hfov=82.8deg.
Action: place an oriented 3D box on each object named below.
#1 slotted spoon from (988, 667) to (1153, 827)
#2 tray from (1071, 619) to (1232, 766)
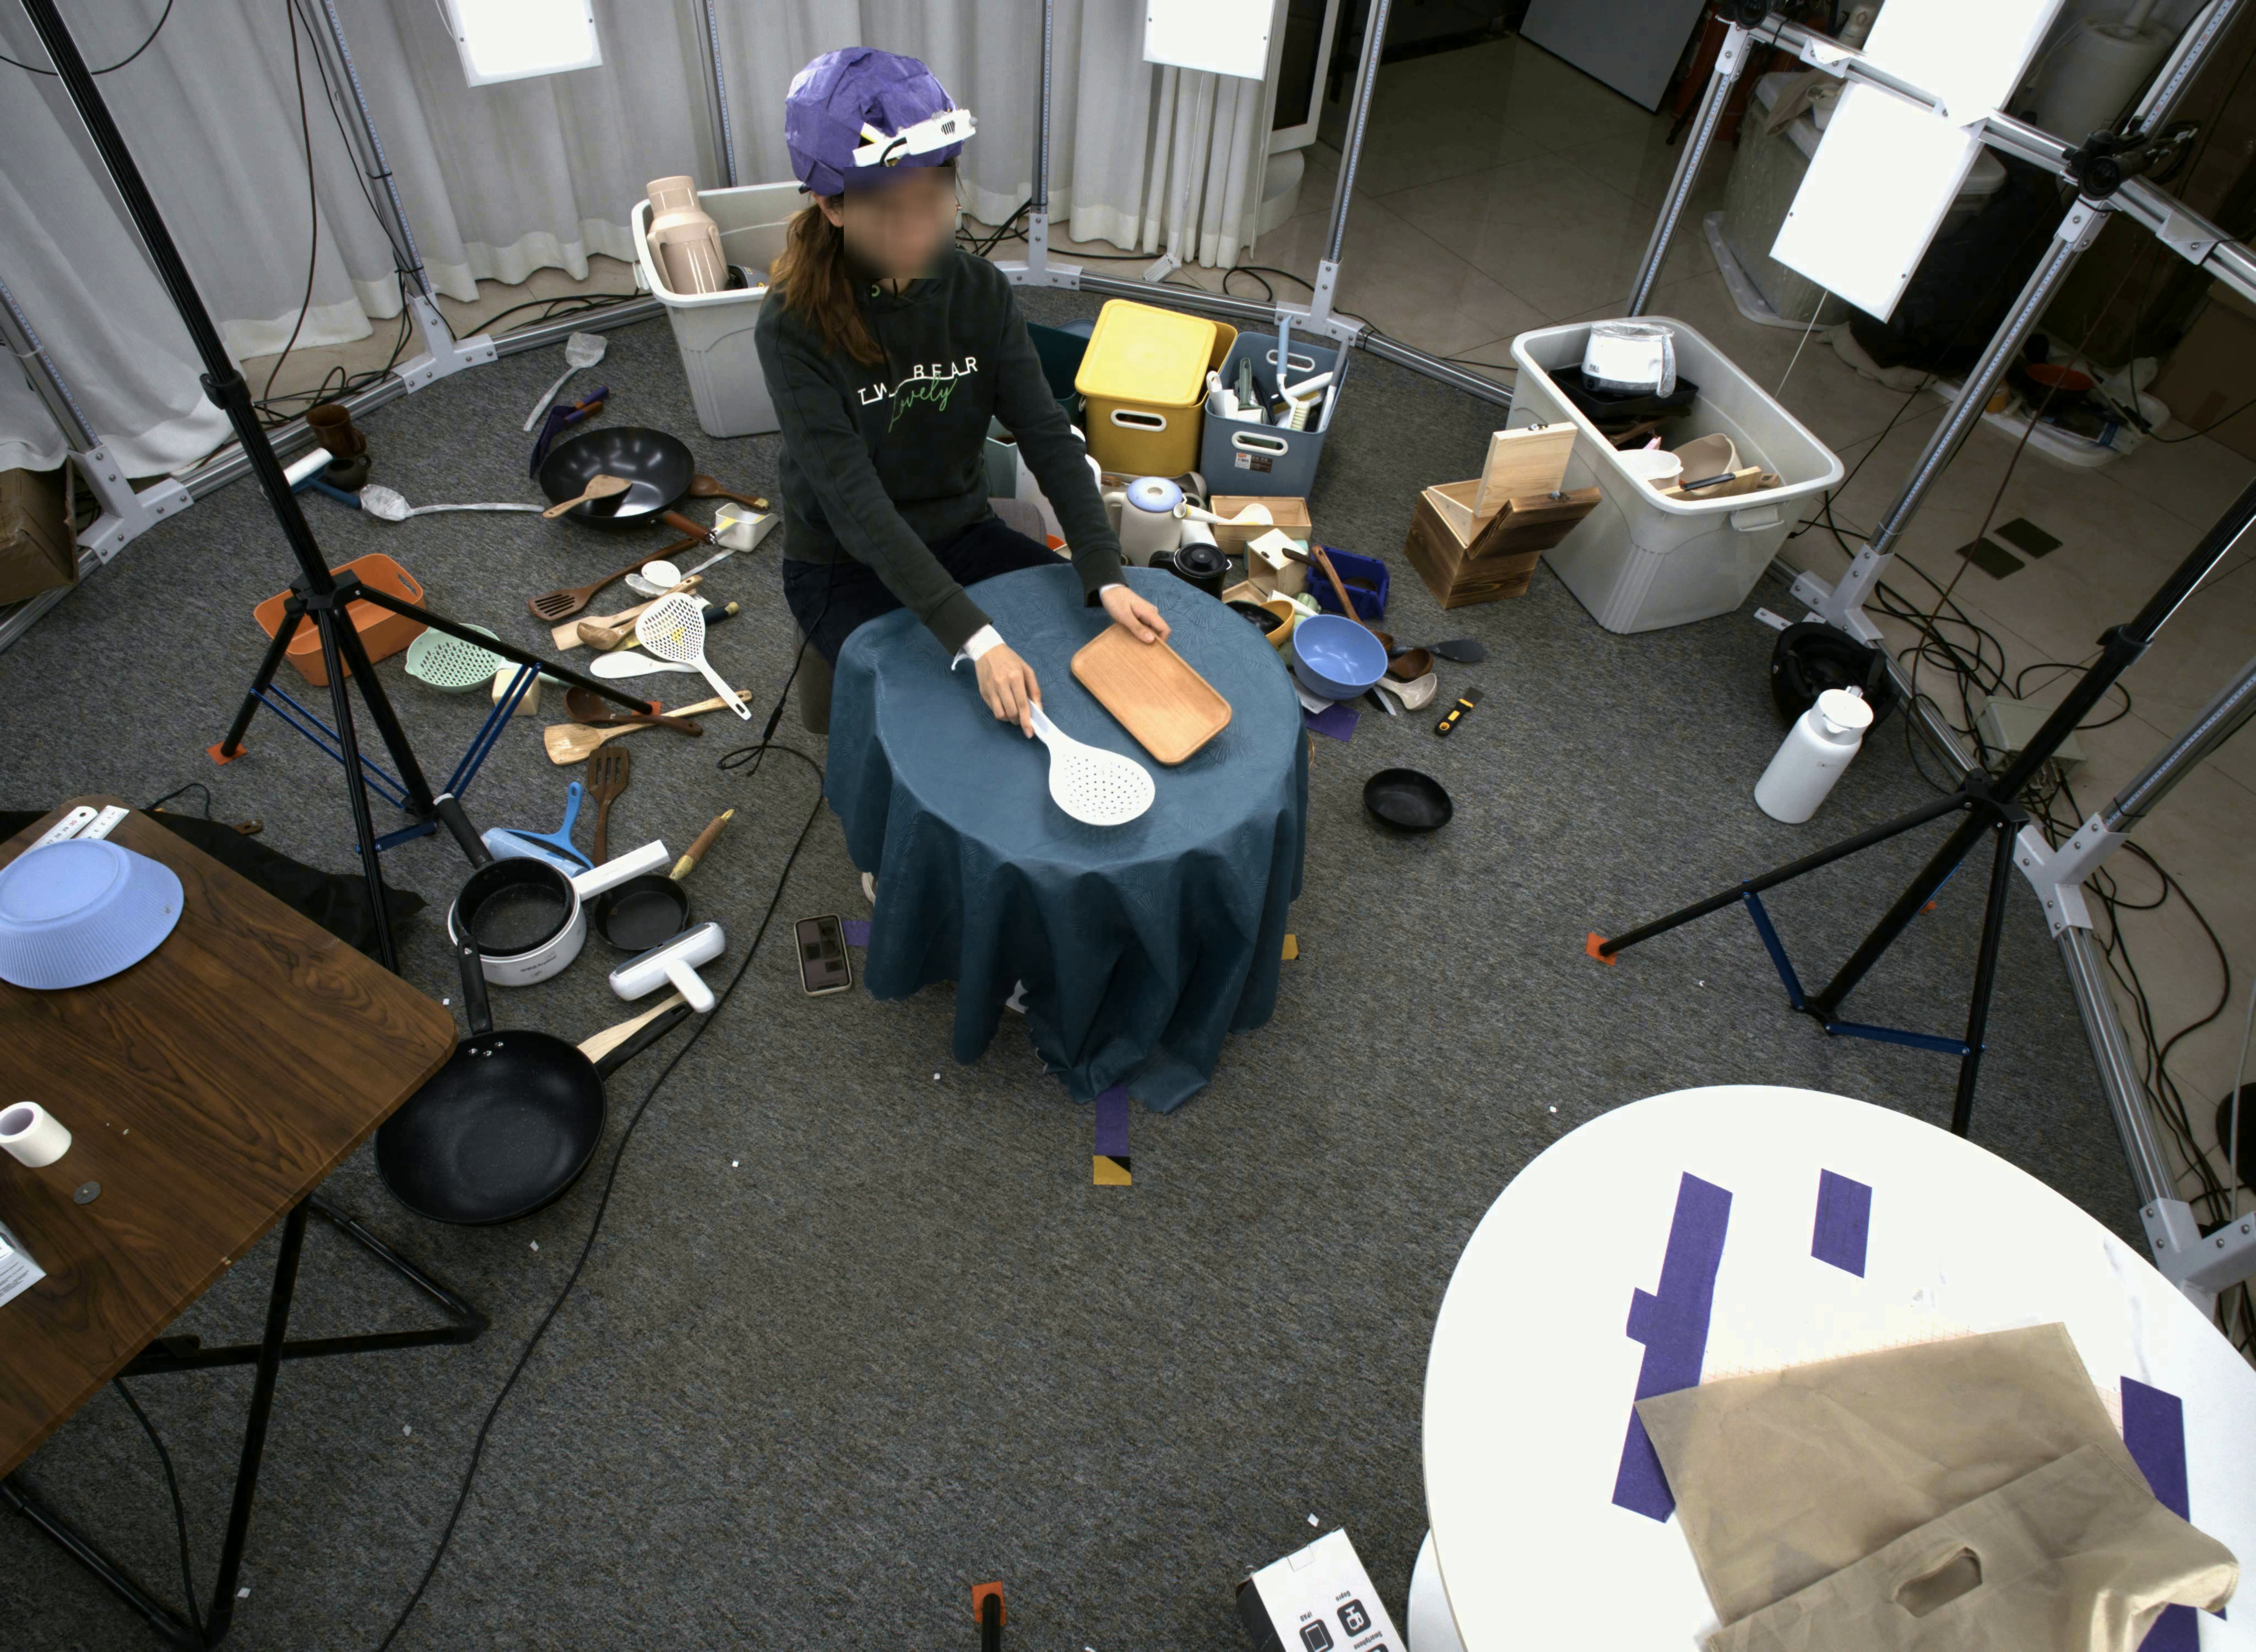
[{"bbox_3d":[-0.095,-0.112,1.740,0.136,0.044,0.357,-21,55,-27],"label":"slotted spoon"},{"bbox_3d":[0.032,-0.192,1.818,0.131,0.022,0.255,-36,58,-10],"label":"tray"}]
